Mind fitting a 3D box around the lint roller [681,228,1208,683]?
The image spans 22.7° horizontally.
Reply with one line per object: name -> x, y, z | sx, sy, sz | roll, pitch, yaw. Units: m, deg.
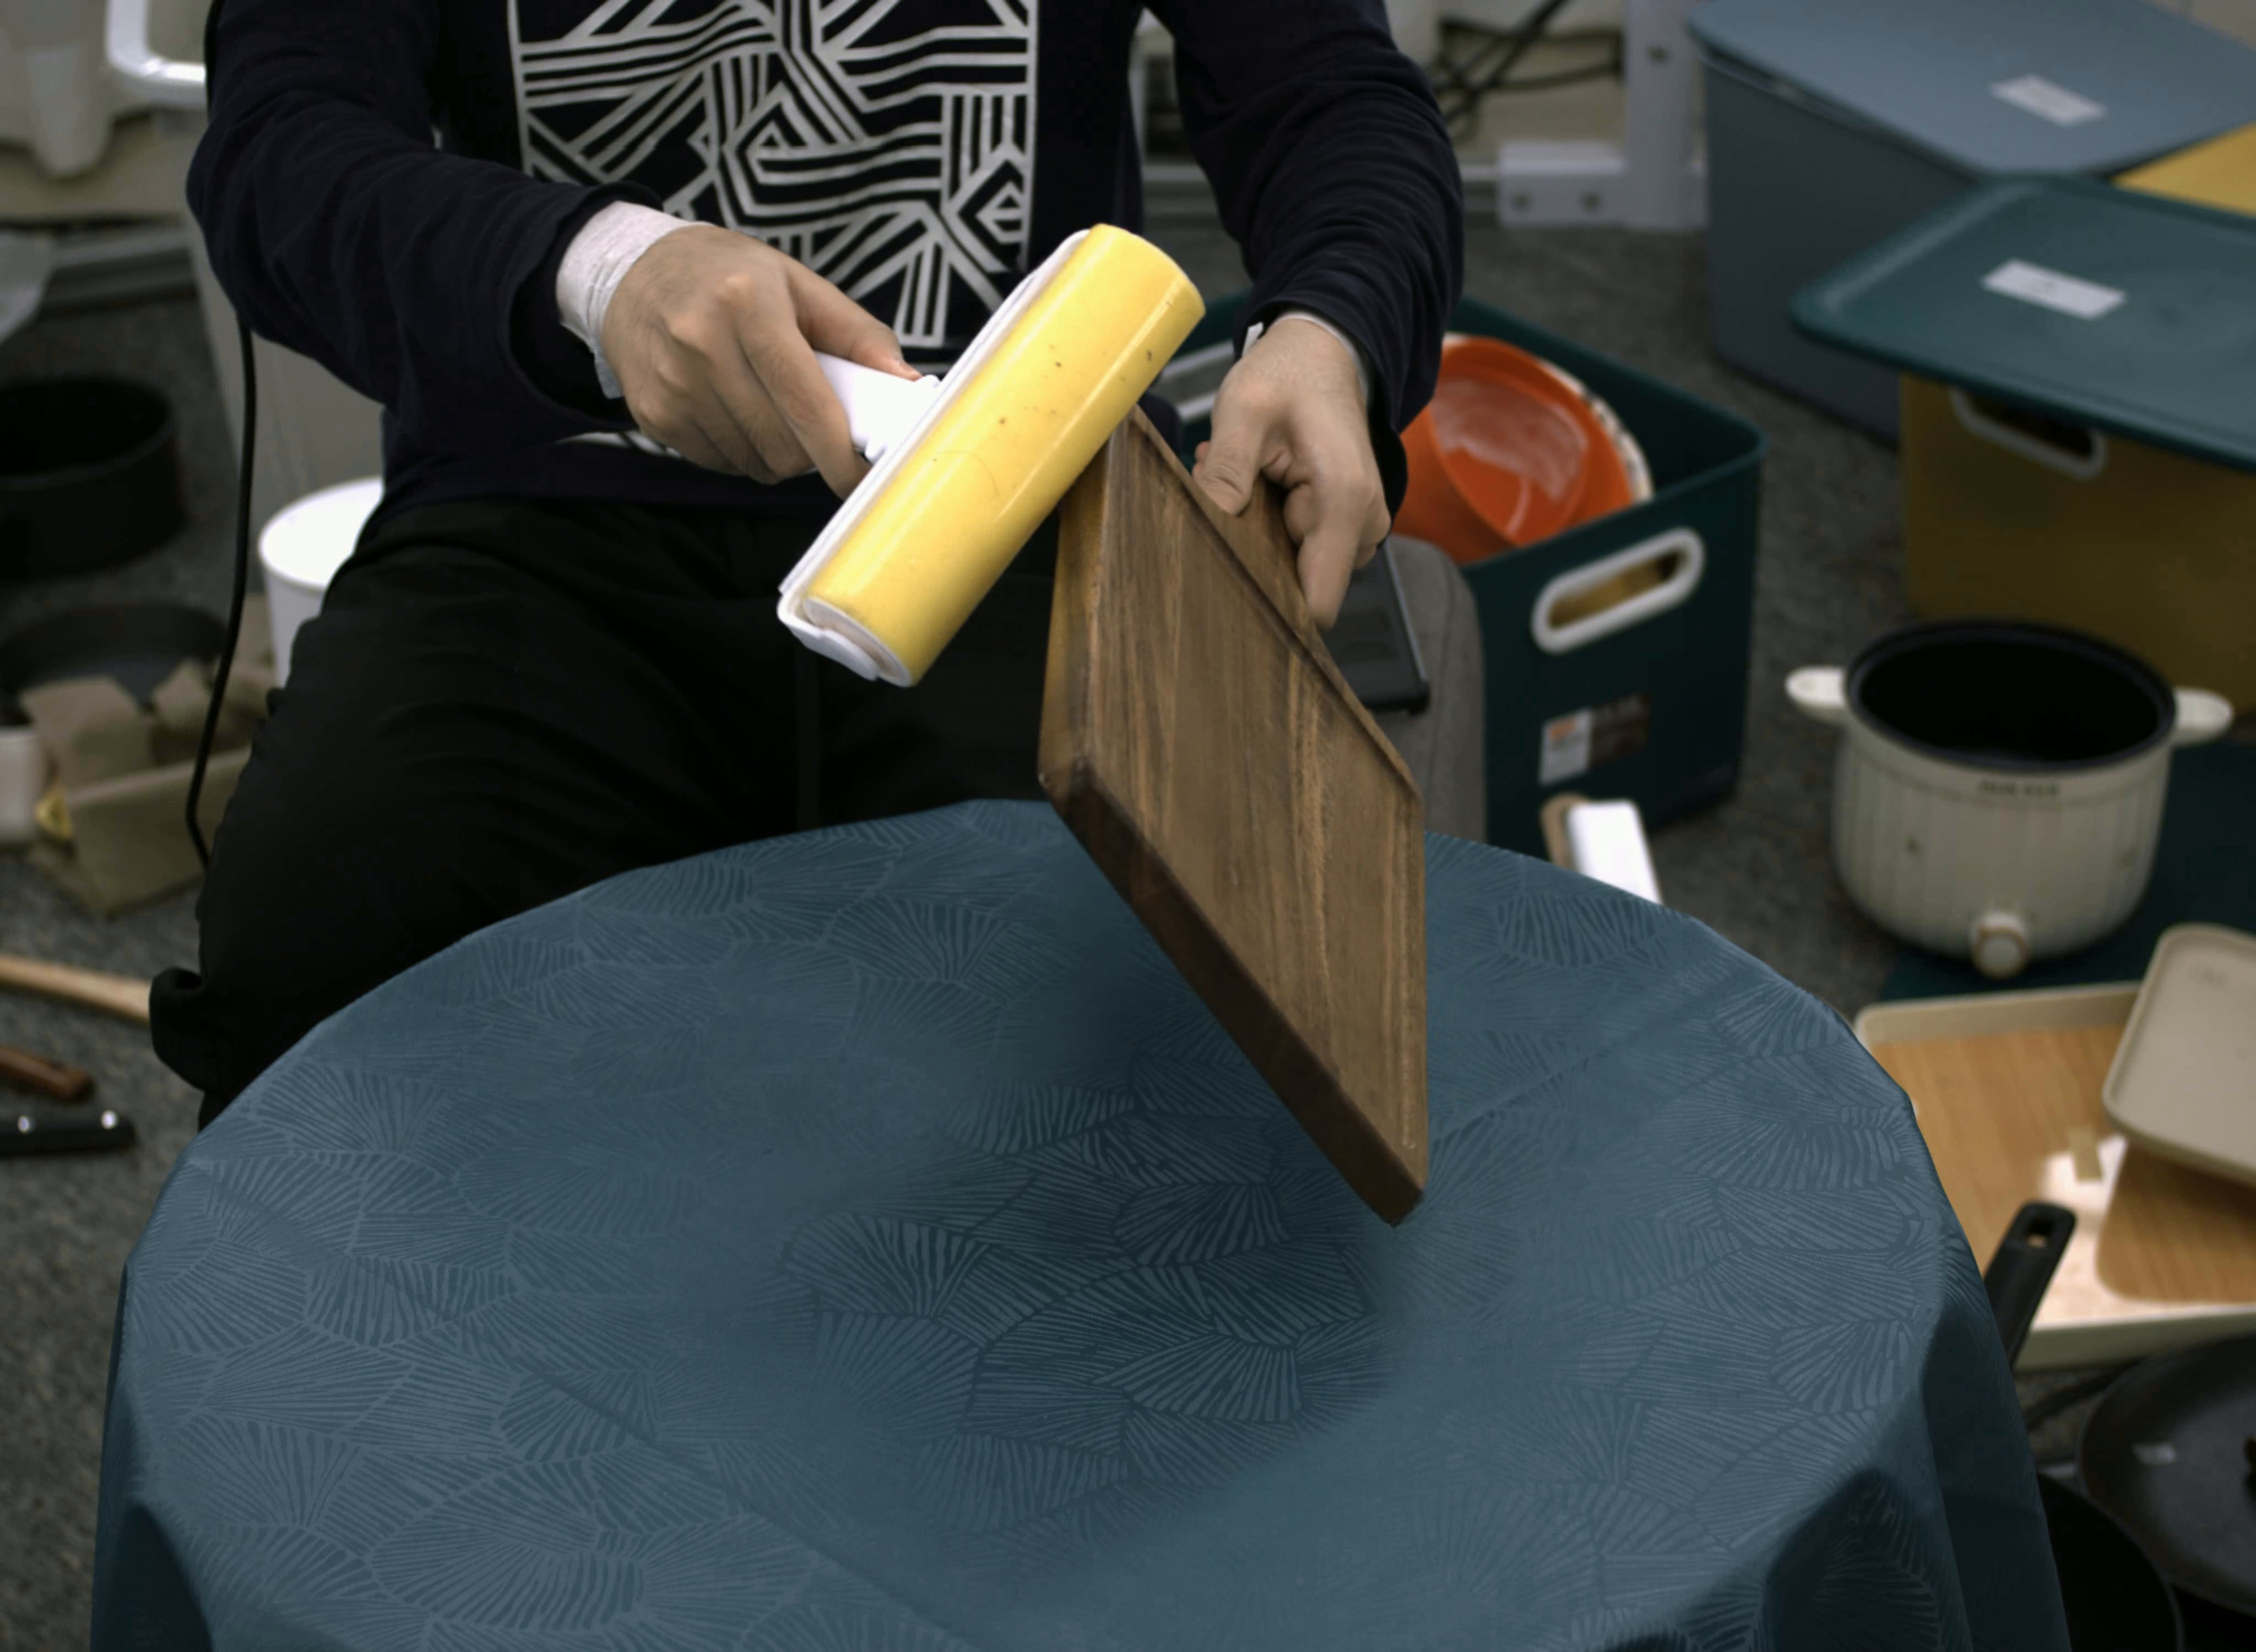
lint roller -> -0.090, -0.144, 1.885 | 0.192, 0.051, 0.176 | 24, 68, 38

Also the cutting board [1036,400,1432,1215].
cutting board -> 0.039, -0.039, 1.875 | 0.023, 0.200, 0.358 | -30, 26, 18
